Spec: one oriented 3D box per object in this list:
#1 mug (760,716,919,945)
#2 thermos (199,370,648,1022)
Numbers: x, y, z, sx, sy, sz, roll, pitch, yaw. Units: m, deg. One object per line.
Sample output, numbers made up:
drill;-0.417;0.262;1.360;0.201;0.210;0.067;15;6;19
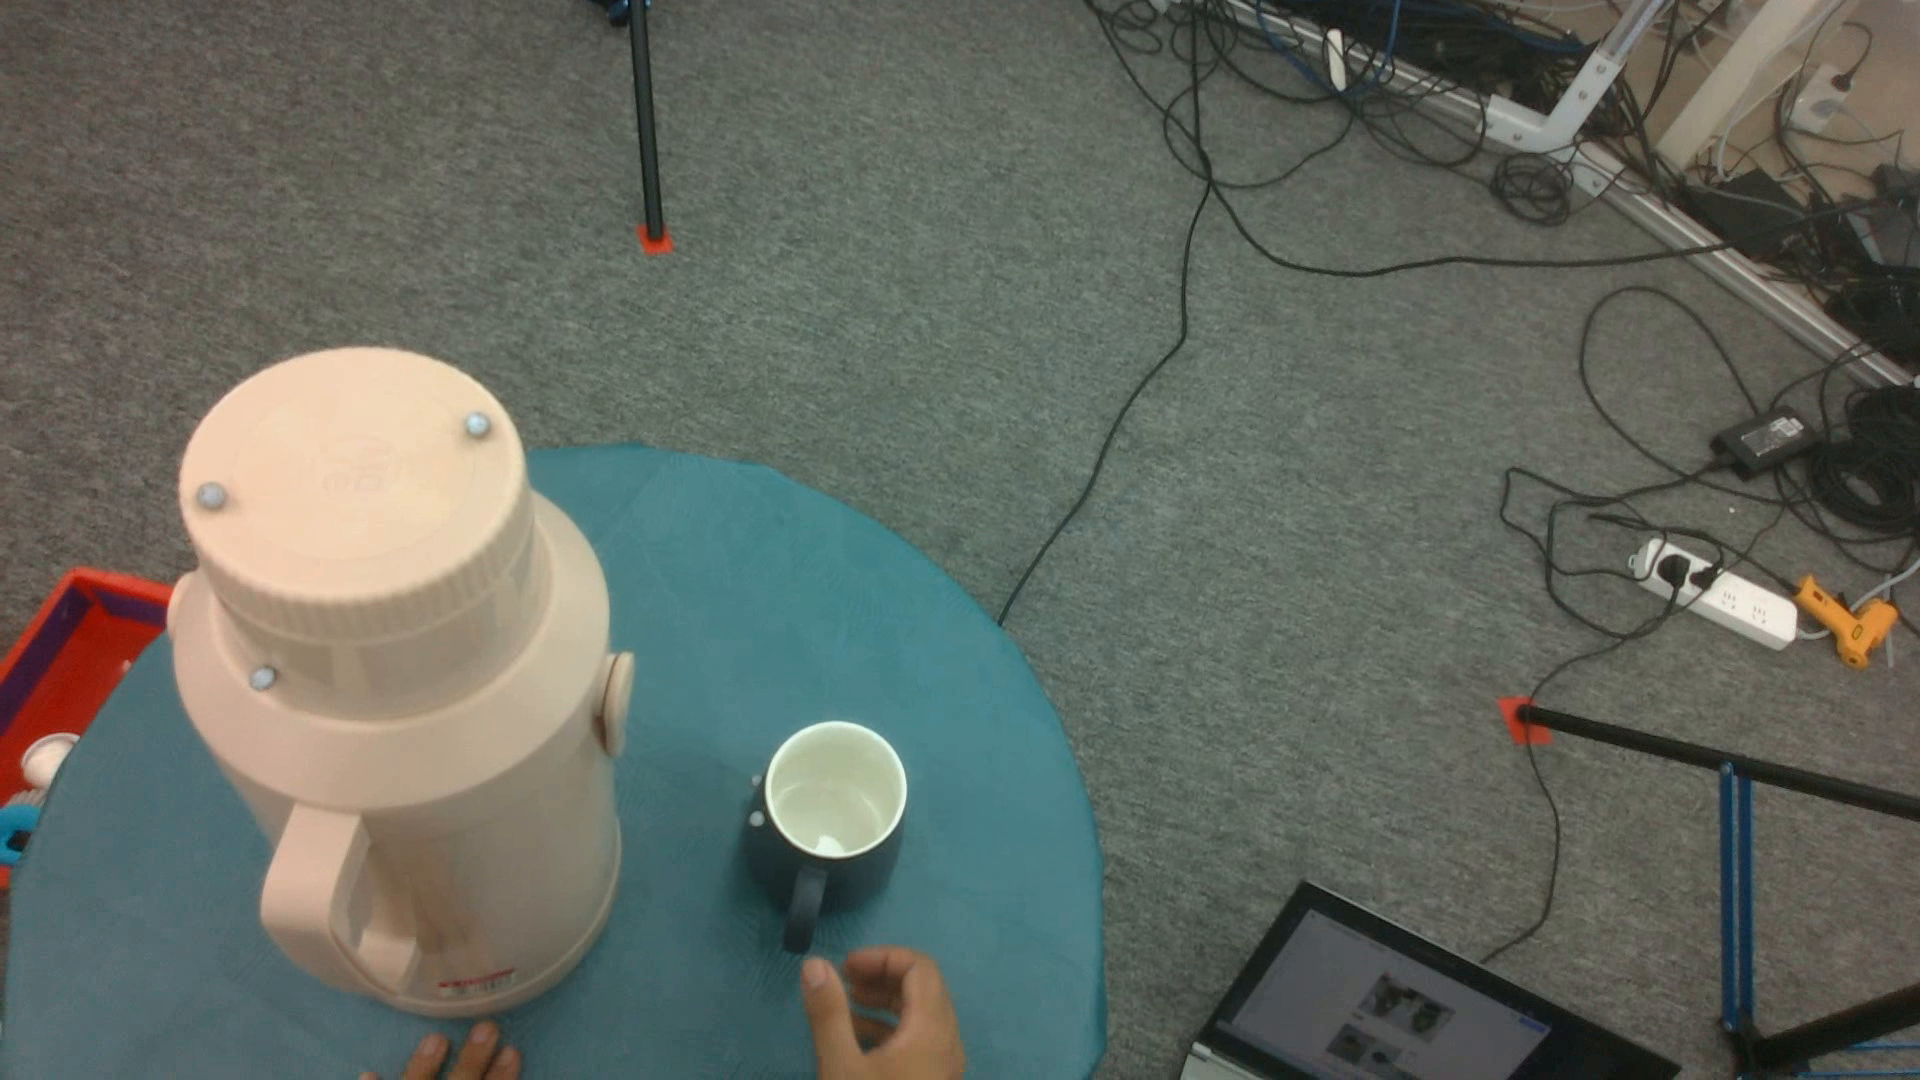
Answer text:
mug;-0.071;0.170;0.794;0.093;0.089;0.124;13;55;-2
thermos;-0.233;0.102;0.623;0.175;0.404;0.208;8;56;-6
